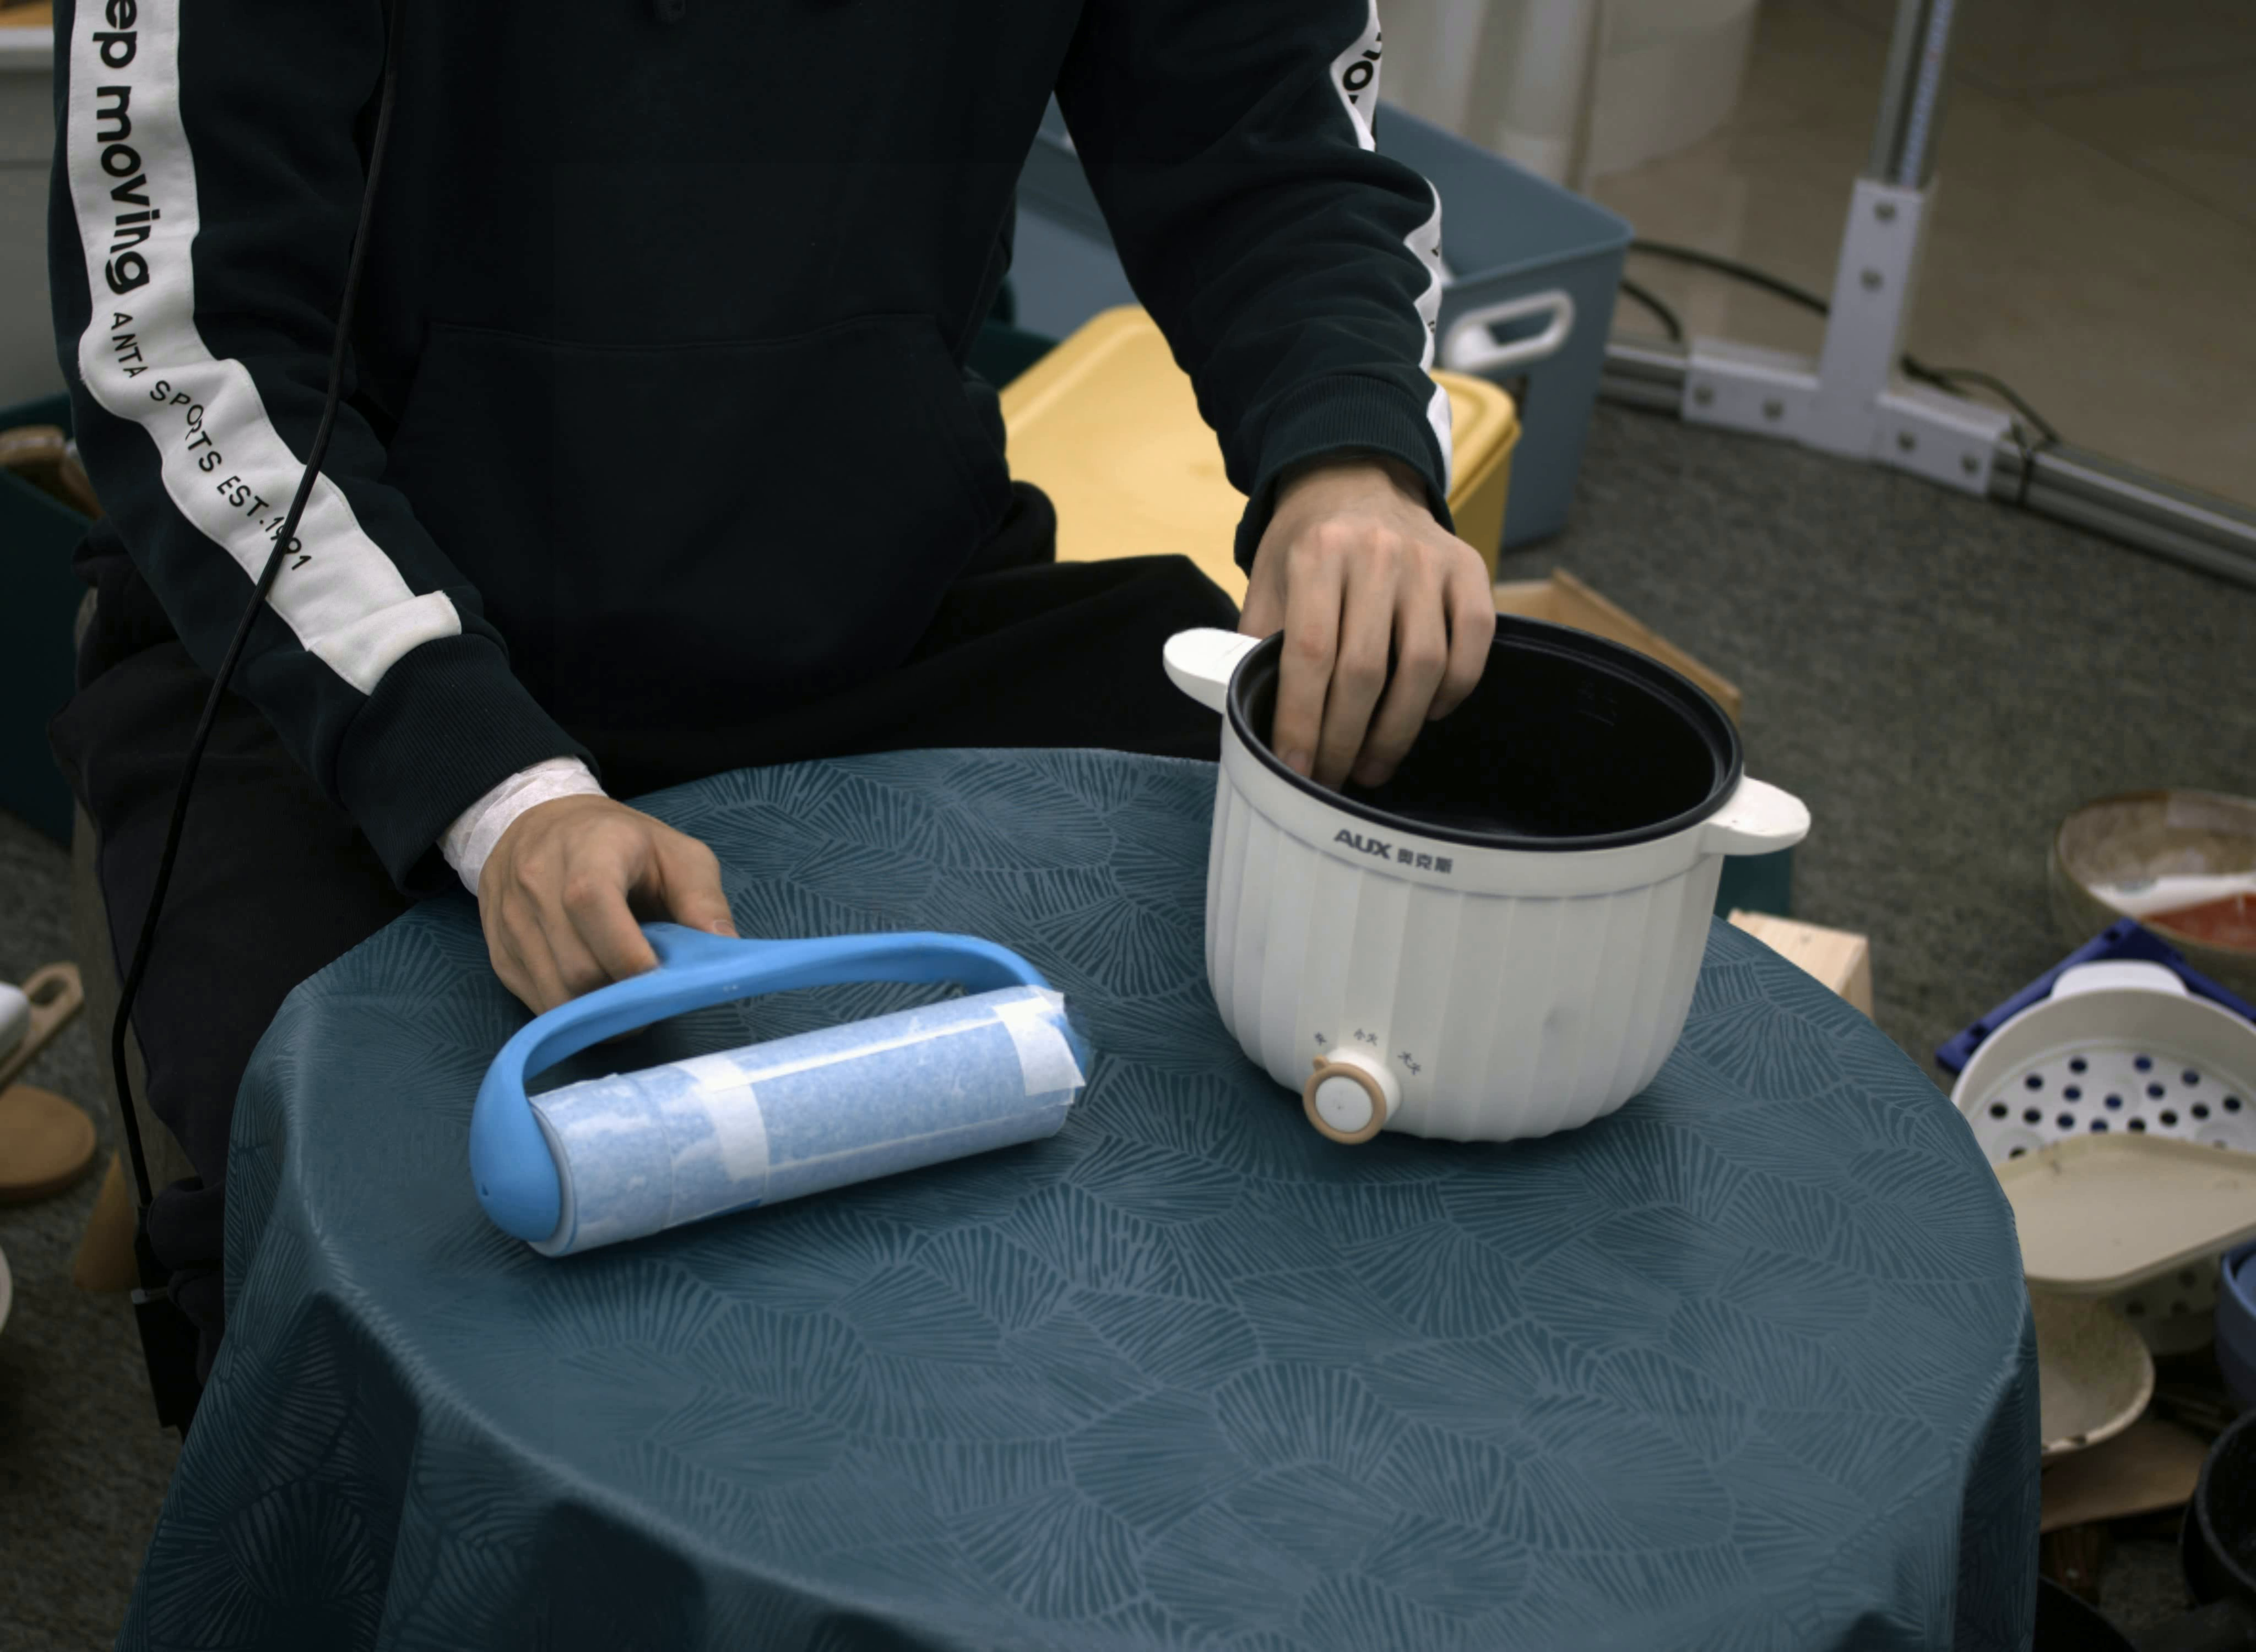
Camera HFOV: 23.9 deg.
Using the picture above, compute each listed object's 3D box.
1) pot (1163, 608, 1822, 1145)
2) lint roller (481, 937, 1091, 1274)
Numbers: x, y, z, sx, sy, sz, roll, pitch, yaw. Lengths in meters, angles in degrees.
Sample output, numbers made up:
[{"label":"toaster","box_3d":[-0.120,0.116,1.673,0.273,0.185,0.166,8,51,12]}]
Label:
[{"label":"pot","box_3d":[0.117,0.024,1.868,0.241,0.142,0.190,15,25,18]},{"label":"lint roller","box_3d":[-0.145,0.073,1.806,0.227,0.067,0.182,-16,36,-34]}]
